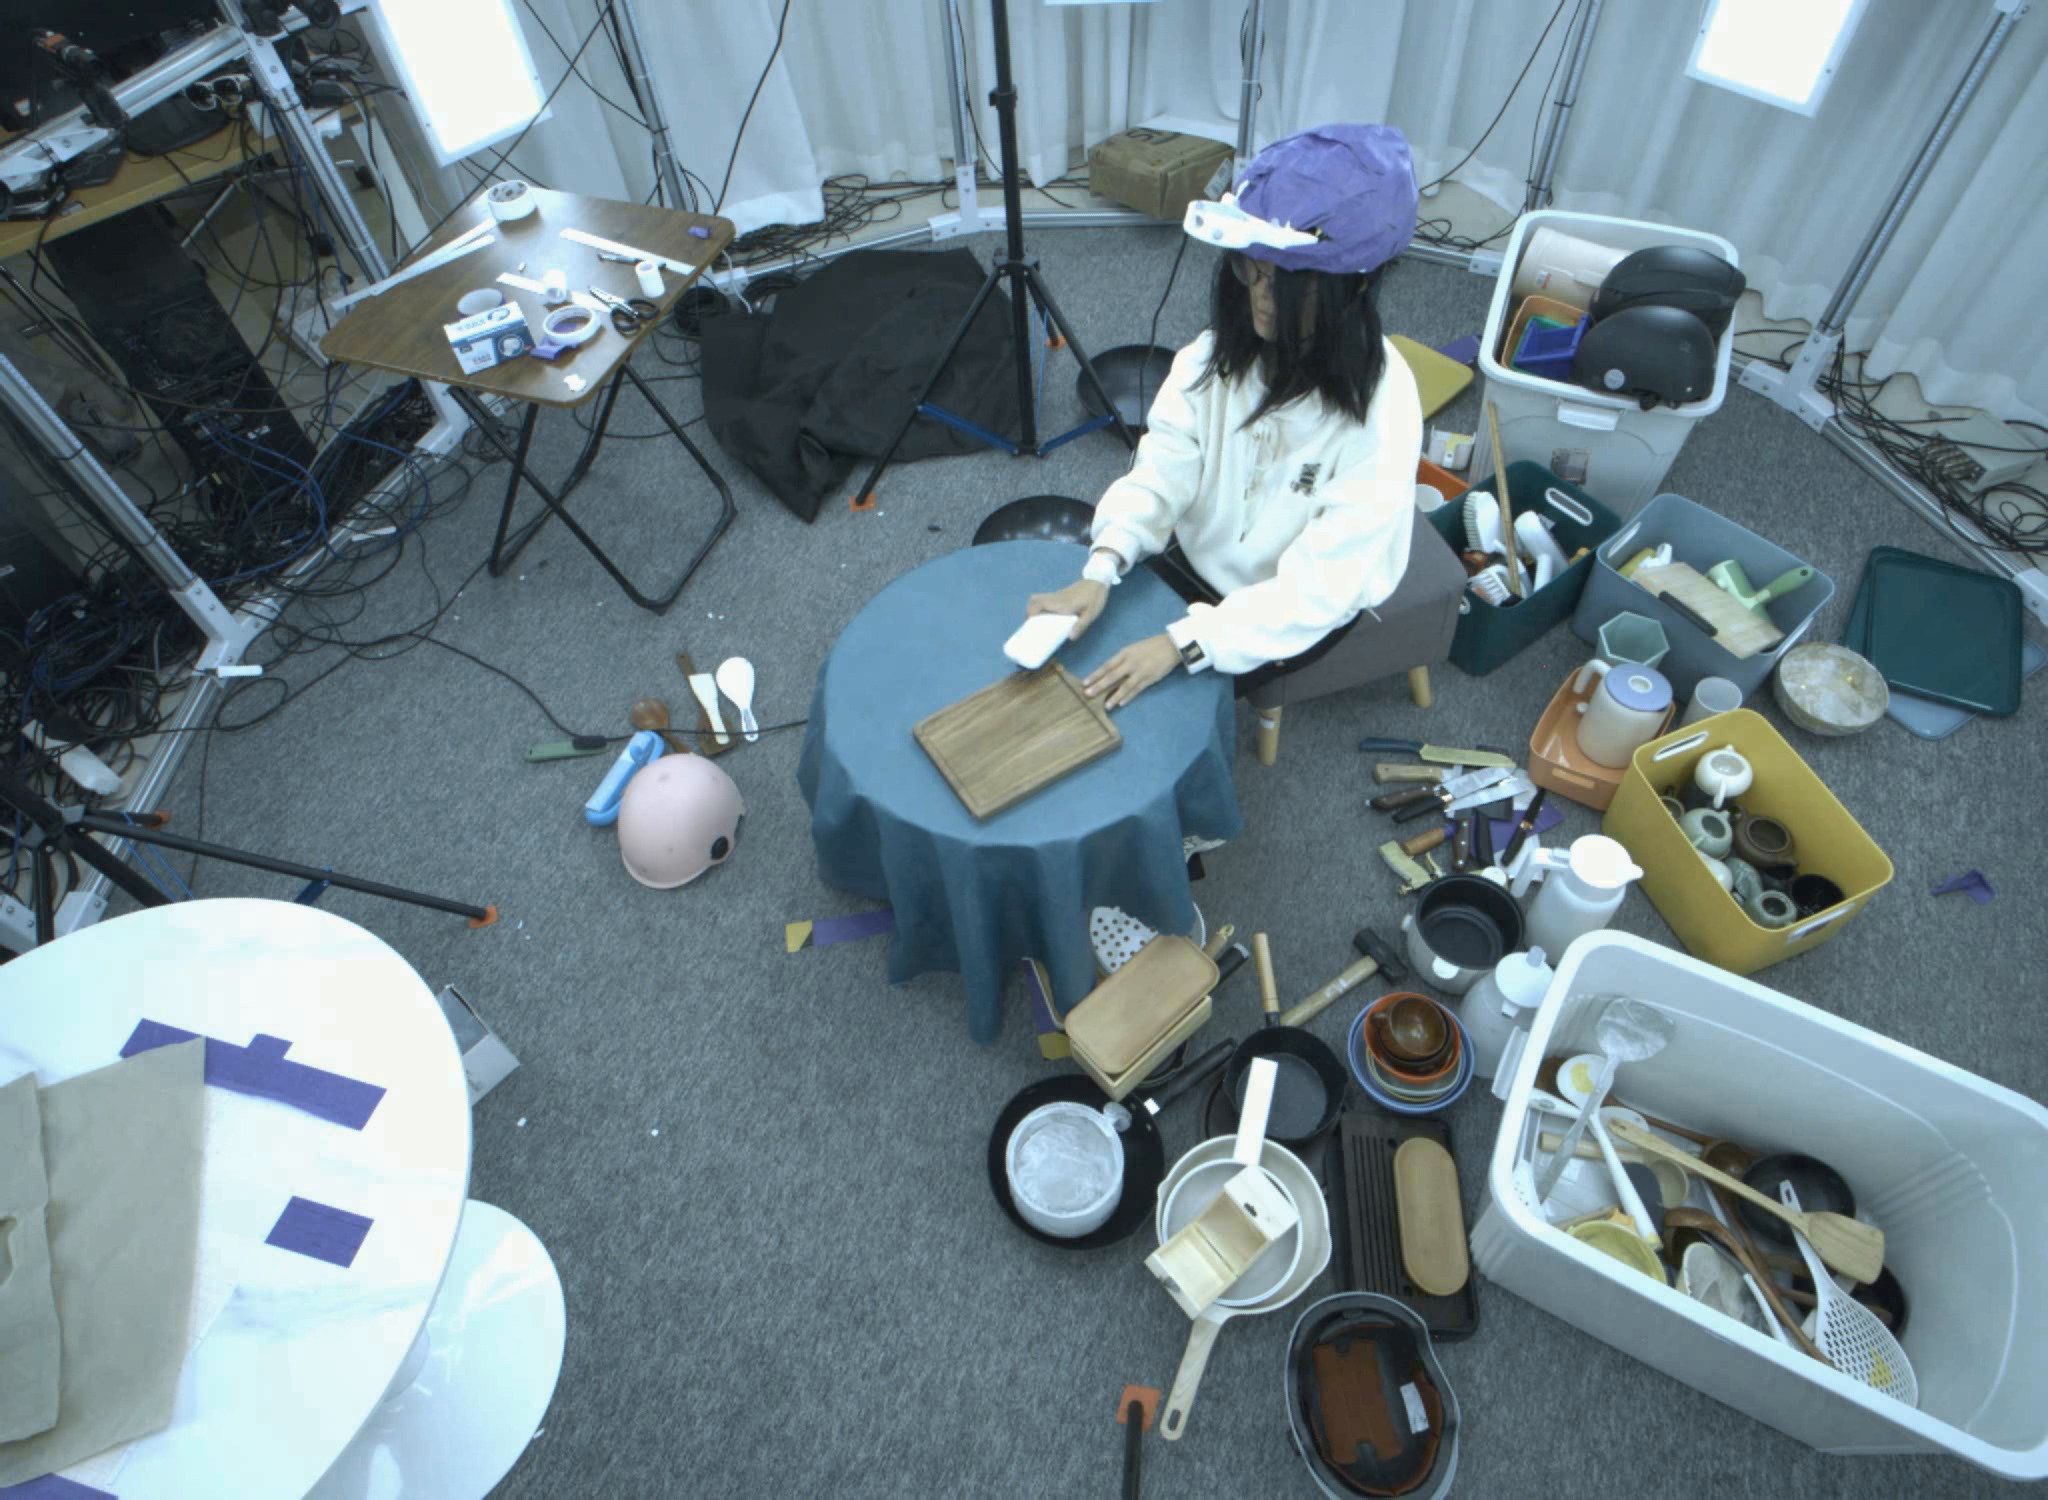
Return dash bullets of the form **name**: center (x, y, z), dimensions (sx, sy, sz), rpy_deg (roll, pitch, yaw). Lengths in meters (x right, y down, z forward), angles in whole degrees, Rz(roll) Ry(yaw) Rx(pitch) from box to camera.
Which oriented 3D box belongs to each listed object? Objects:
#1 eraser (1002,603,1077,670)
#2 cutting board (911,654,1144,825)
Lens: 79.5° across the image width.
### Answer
- **eraser**: center (0.025, -0.173, 1.852), dimensions (0.062, 0.035, 0.132), rpy_deg (25, 52, 25)
- **cutting board**: center (0.030, -0.043, 1.805), dimensions (0.355, 0.023, 0.197), rpy_deg (-29, 59, -17)
